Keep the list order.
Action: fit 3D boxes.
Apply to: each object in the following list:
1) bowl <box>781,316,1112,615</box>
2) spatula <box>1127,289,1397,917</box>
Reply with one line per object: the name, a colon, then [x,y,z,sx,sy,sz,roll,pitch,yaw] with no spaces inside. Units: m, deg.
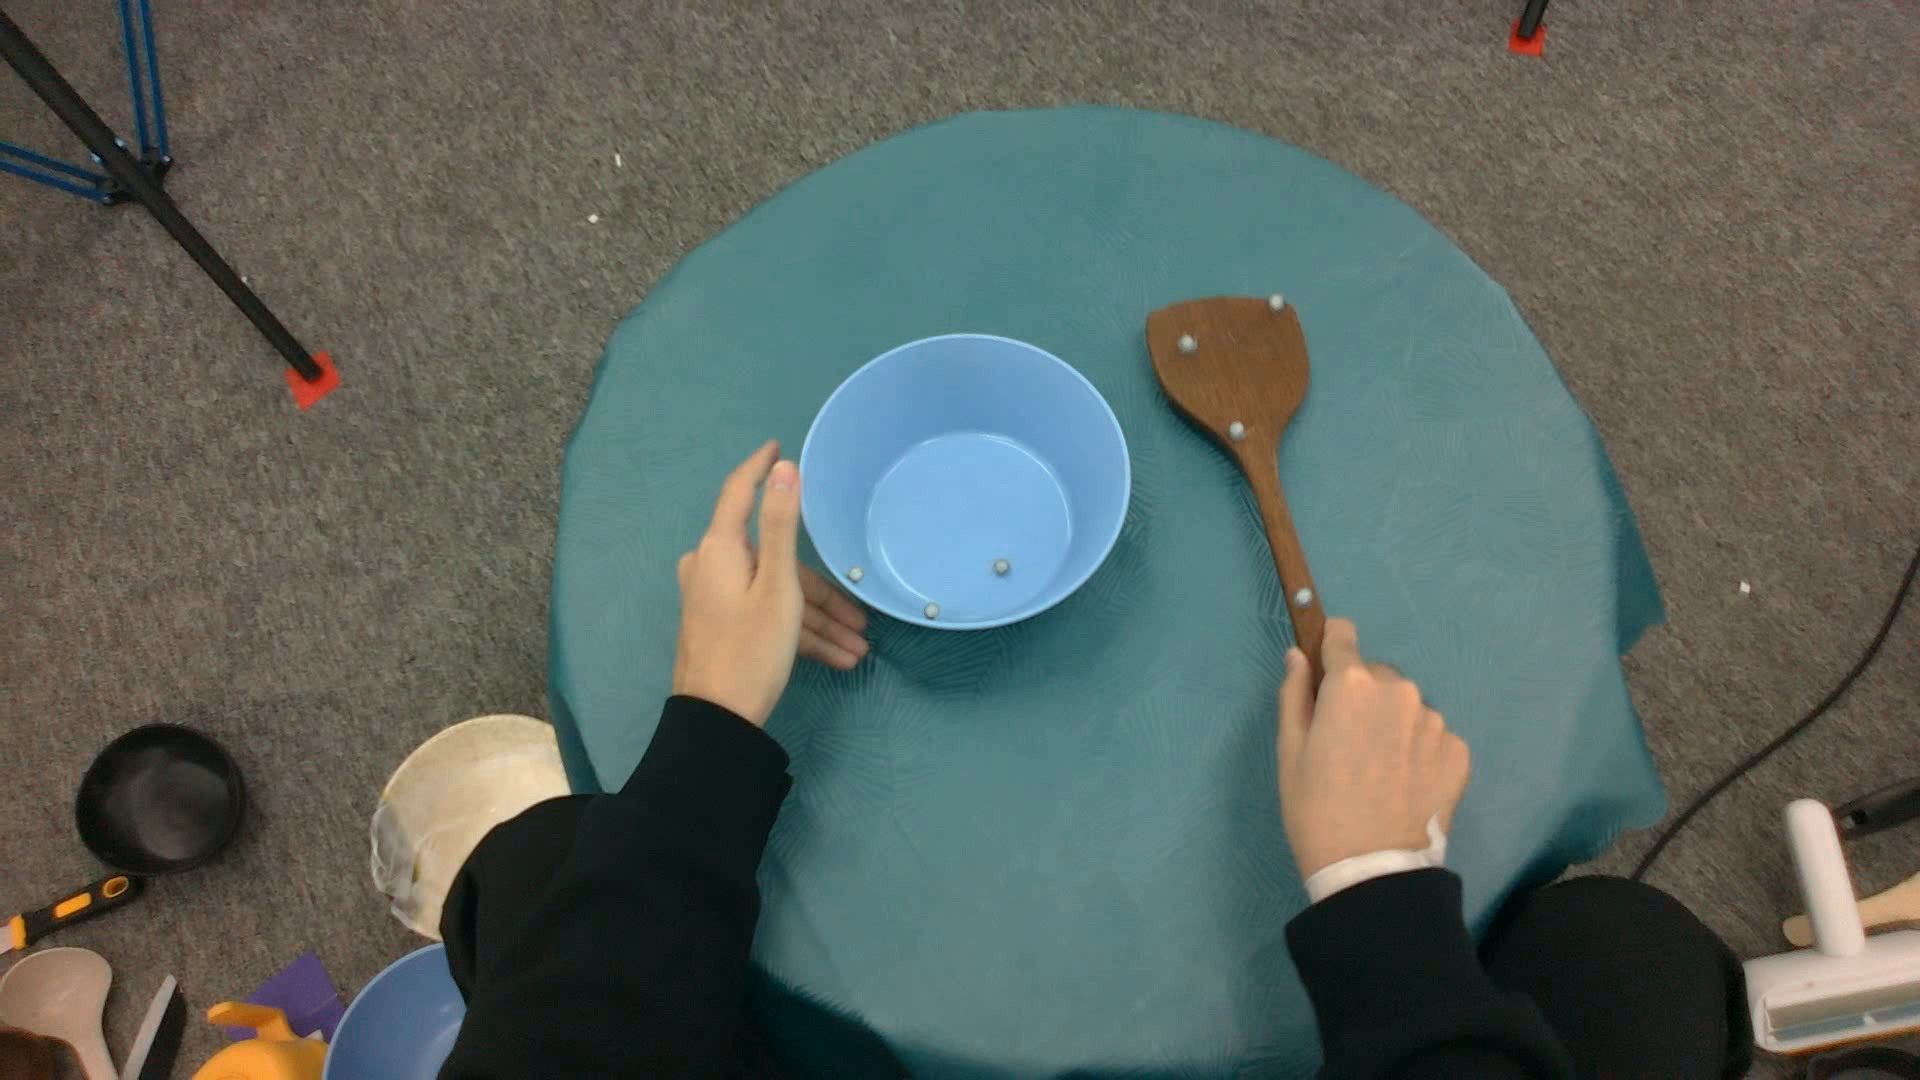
bowl: [-0.006,-0.031,0.755,0.176,0.070,0.176,-1,66,3]
spatula: [0.168,0.011,0.739,0.096,0.016,0.387,-8,57,-1]
